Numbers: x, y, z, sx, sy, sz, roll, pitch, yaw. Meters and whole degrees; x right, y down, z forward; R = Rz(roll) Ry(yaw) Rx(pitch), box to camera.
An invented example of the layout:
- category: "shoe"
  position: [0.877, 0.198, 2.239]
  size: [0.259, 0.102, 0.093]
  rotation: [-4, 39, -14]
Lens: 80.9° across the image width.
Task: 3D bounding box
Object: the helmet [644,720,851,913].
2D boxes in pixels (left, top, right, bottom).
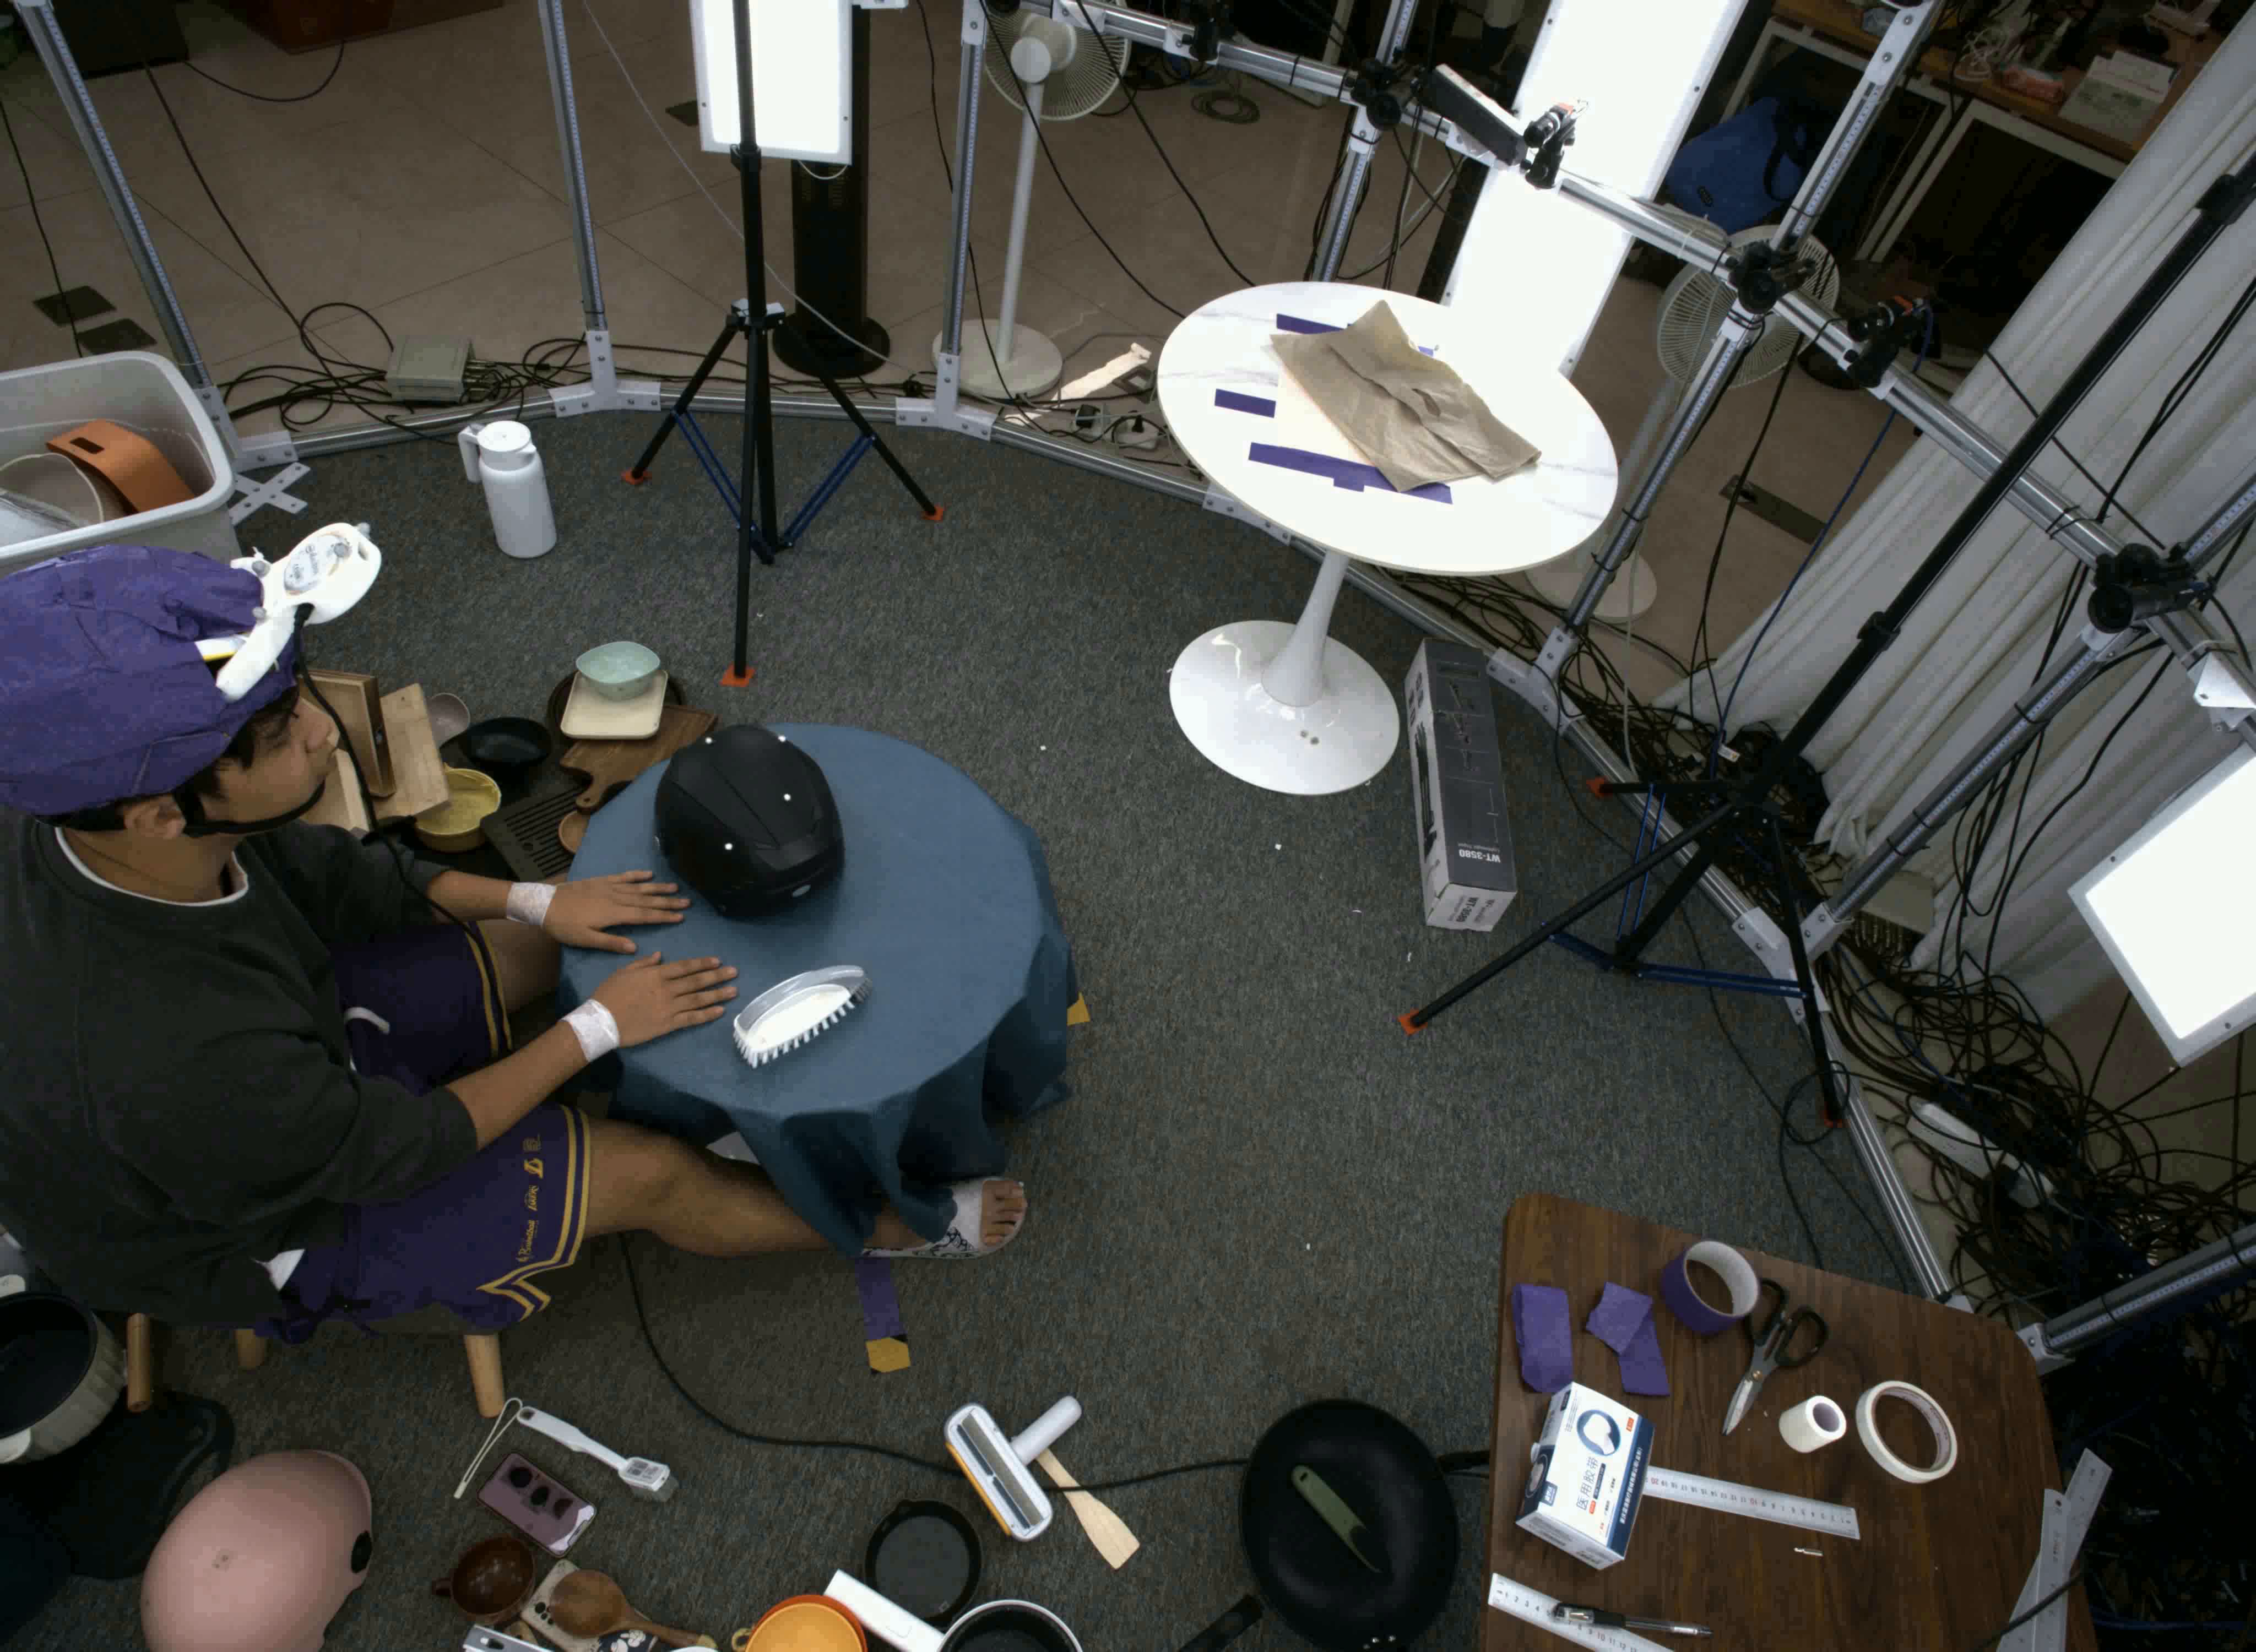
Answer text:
- category: "helmet"
  position: [-0.478, -0.029, 1.634]
  size: [0.248, 0.175, 0.271]
  rotation: [-27, 68, -30]

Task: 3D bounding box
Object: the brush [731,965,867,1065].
- category: "brush"
  position: [-0.383, 0.202, 1.530]
  size: [0.176, 0.096, 0.060]
  rotation: [-26, 63, -31]
